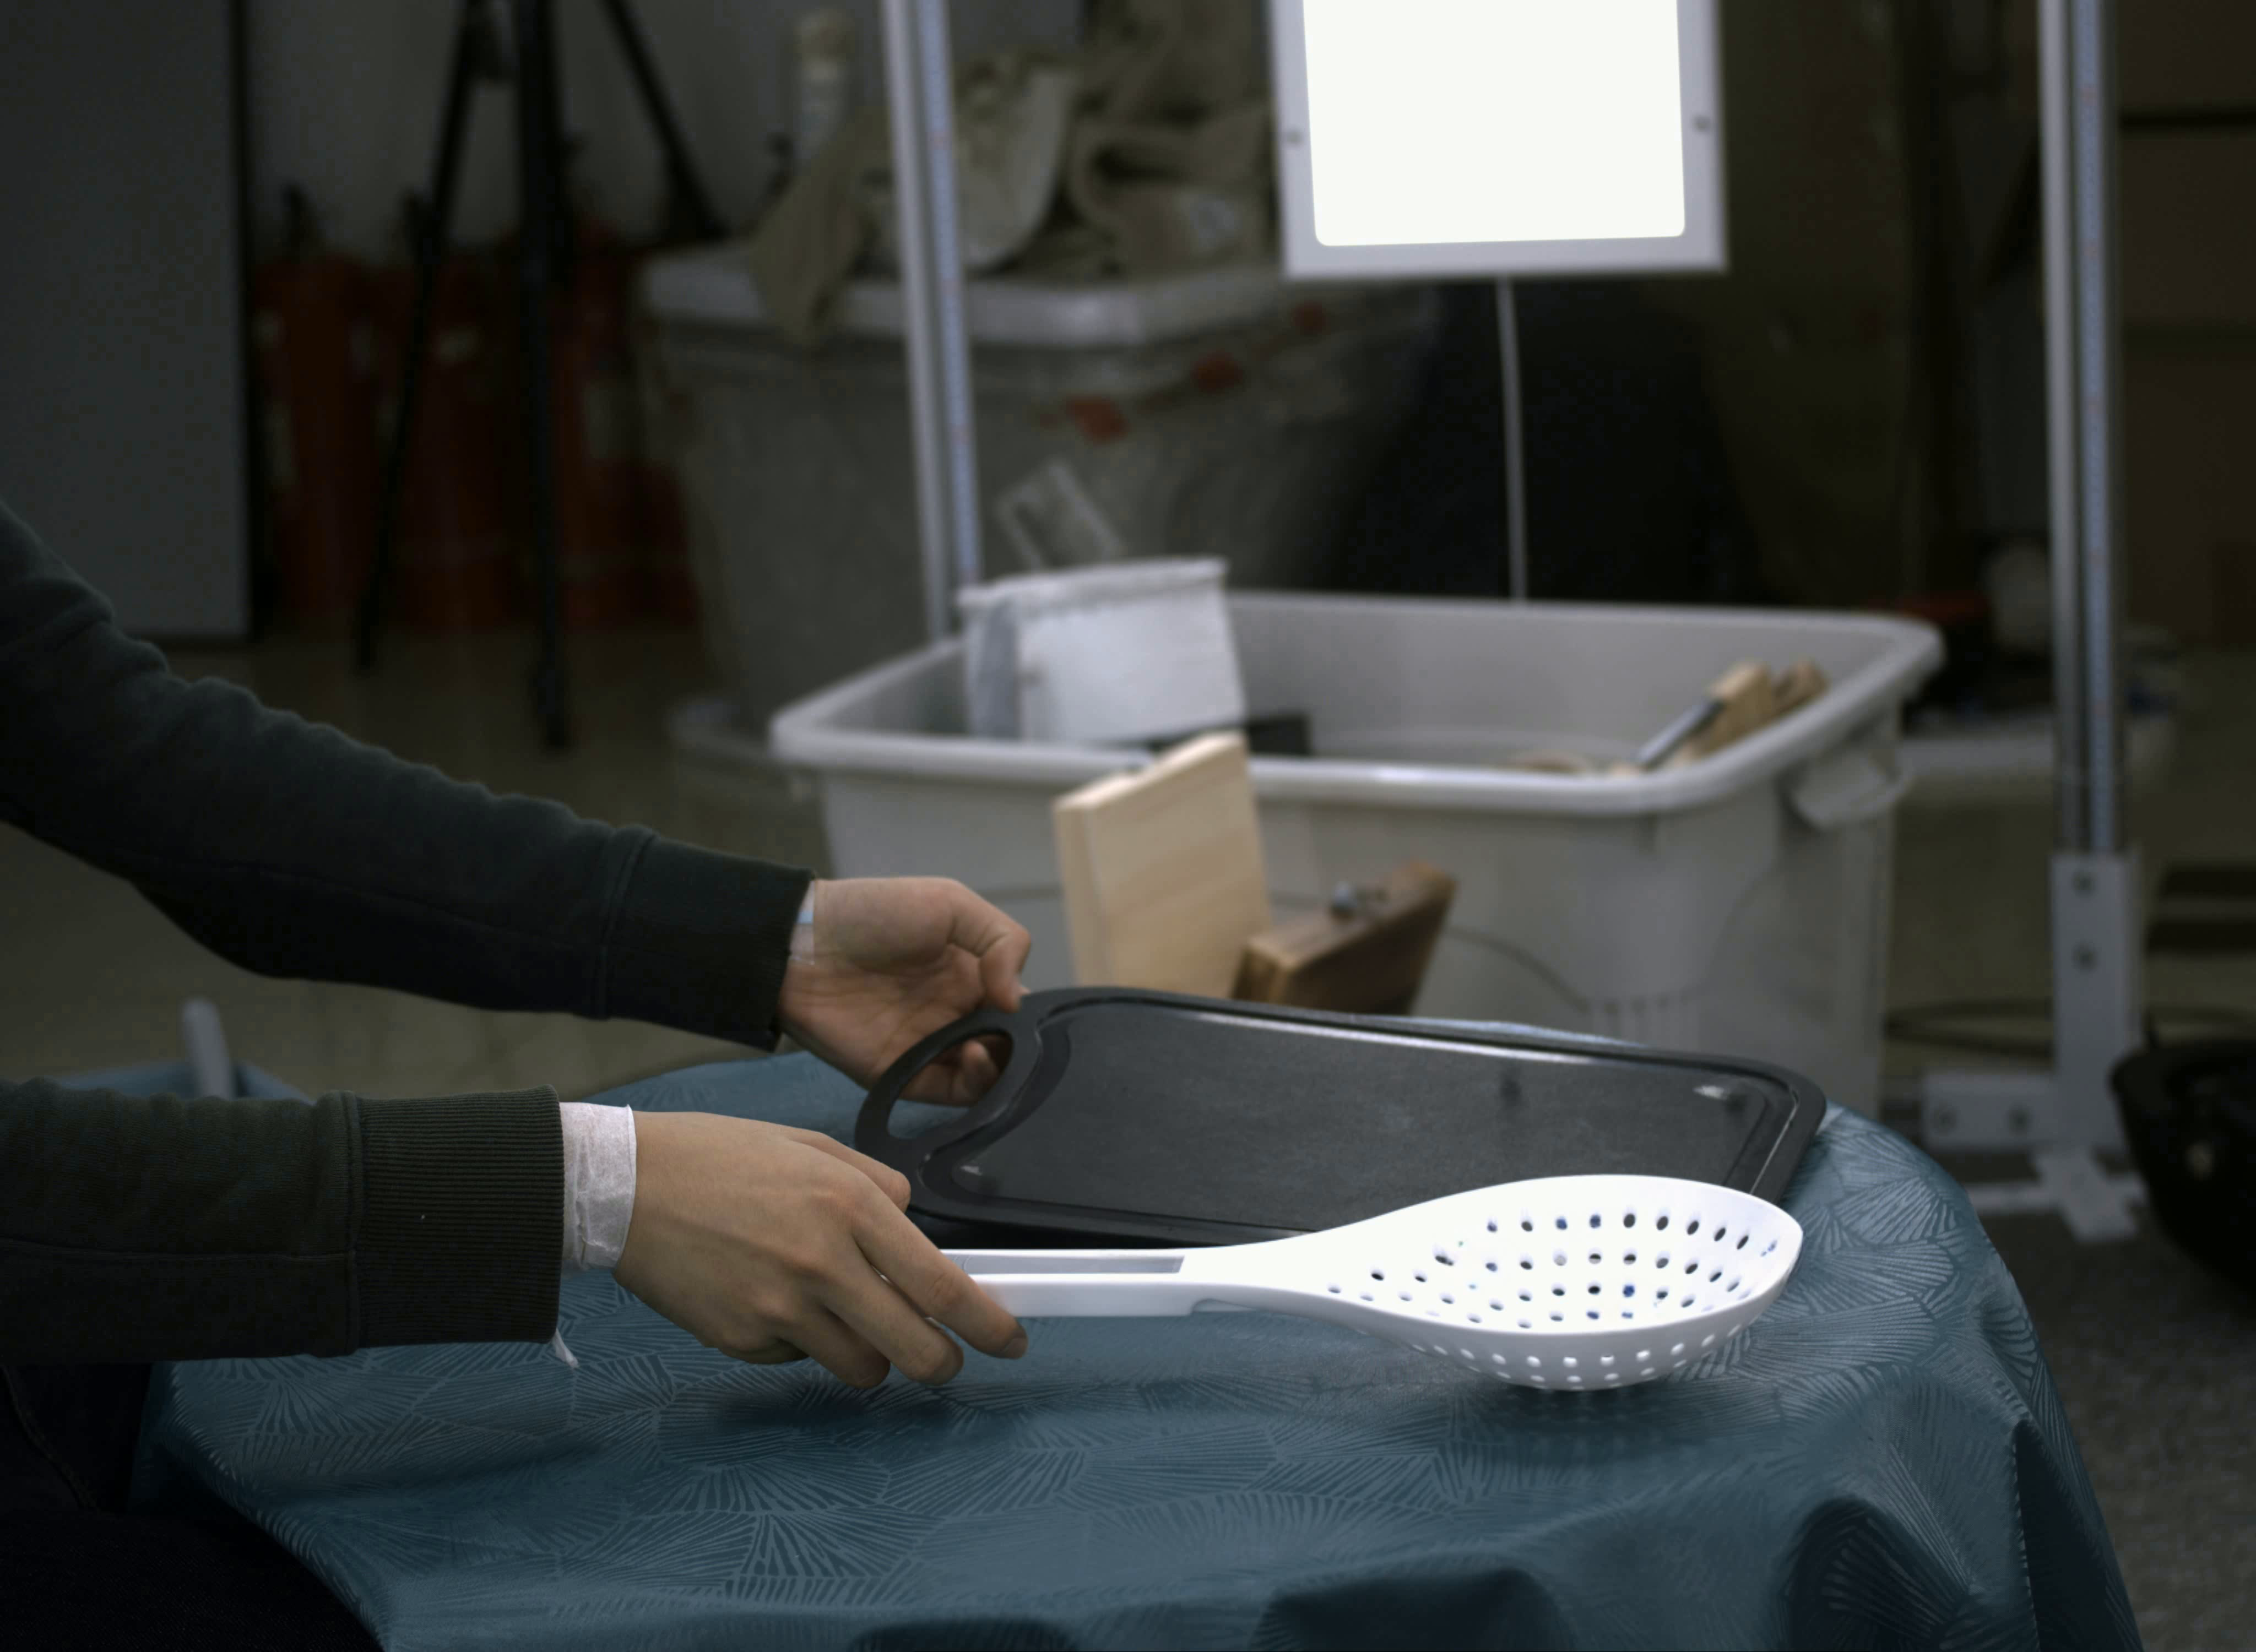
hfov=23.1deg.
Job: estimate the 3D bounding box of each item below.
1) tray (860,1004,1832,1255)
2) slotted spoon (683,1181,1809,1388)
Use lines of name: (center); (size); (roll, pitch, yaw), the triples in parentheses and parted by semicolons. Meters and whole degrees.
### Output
tray: (0.070, 0.104, 1.886); (0.329, 0.010, 0.207); (5, 19, 19)
slotted spoon: (0.034, 0.139, 1.695); (0.352, 0.046, 0.134); (3, 15, 11)
